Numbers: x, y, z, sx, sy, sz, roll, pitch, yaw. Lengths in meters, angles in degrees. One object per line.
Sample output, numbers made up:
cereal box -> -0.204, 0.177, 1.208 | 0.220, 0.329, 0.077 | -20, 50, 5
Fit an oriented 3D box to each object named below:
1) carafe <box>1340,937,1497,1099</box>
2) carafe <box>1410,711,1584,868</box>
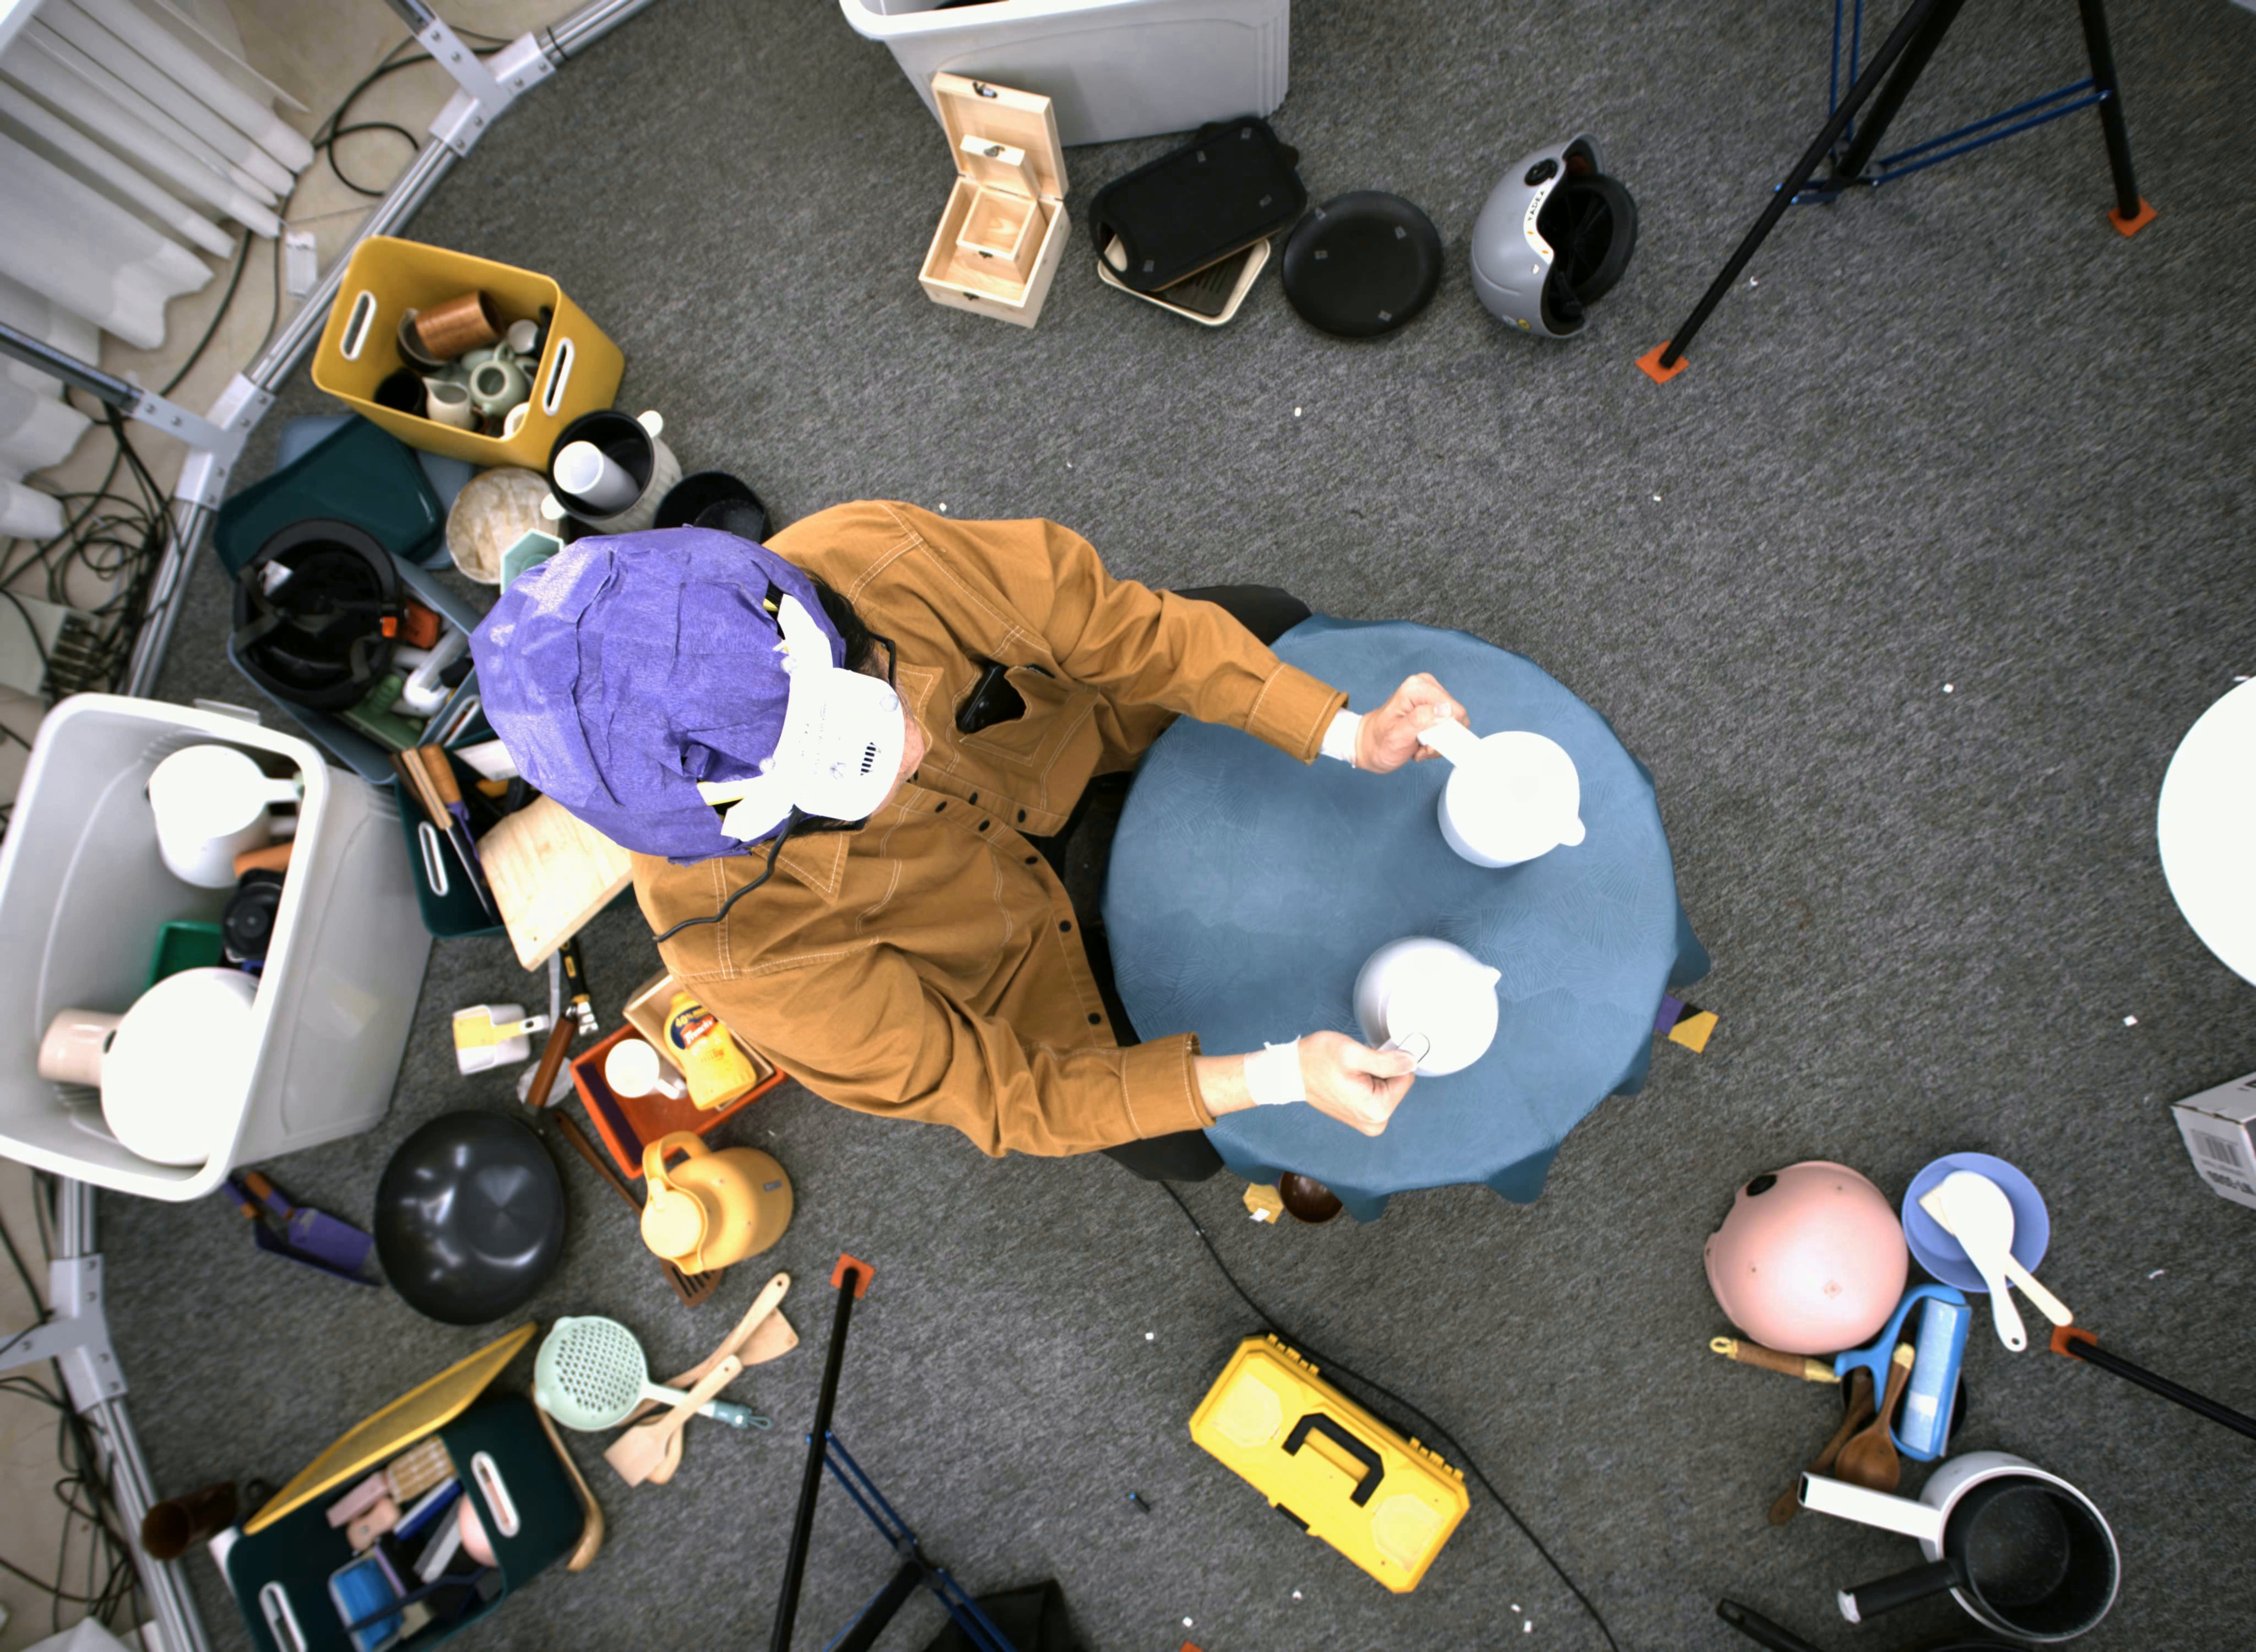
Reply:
carafe -> 0.264, 0.182, 1.275 | 0.168, 0.248, 0.132 | -45, 83, 4
carafe -> 0.341, -0.034, 1.294 | 0.172, 0.268, 0.124 | 39, 97, 10
